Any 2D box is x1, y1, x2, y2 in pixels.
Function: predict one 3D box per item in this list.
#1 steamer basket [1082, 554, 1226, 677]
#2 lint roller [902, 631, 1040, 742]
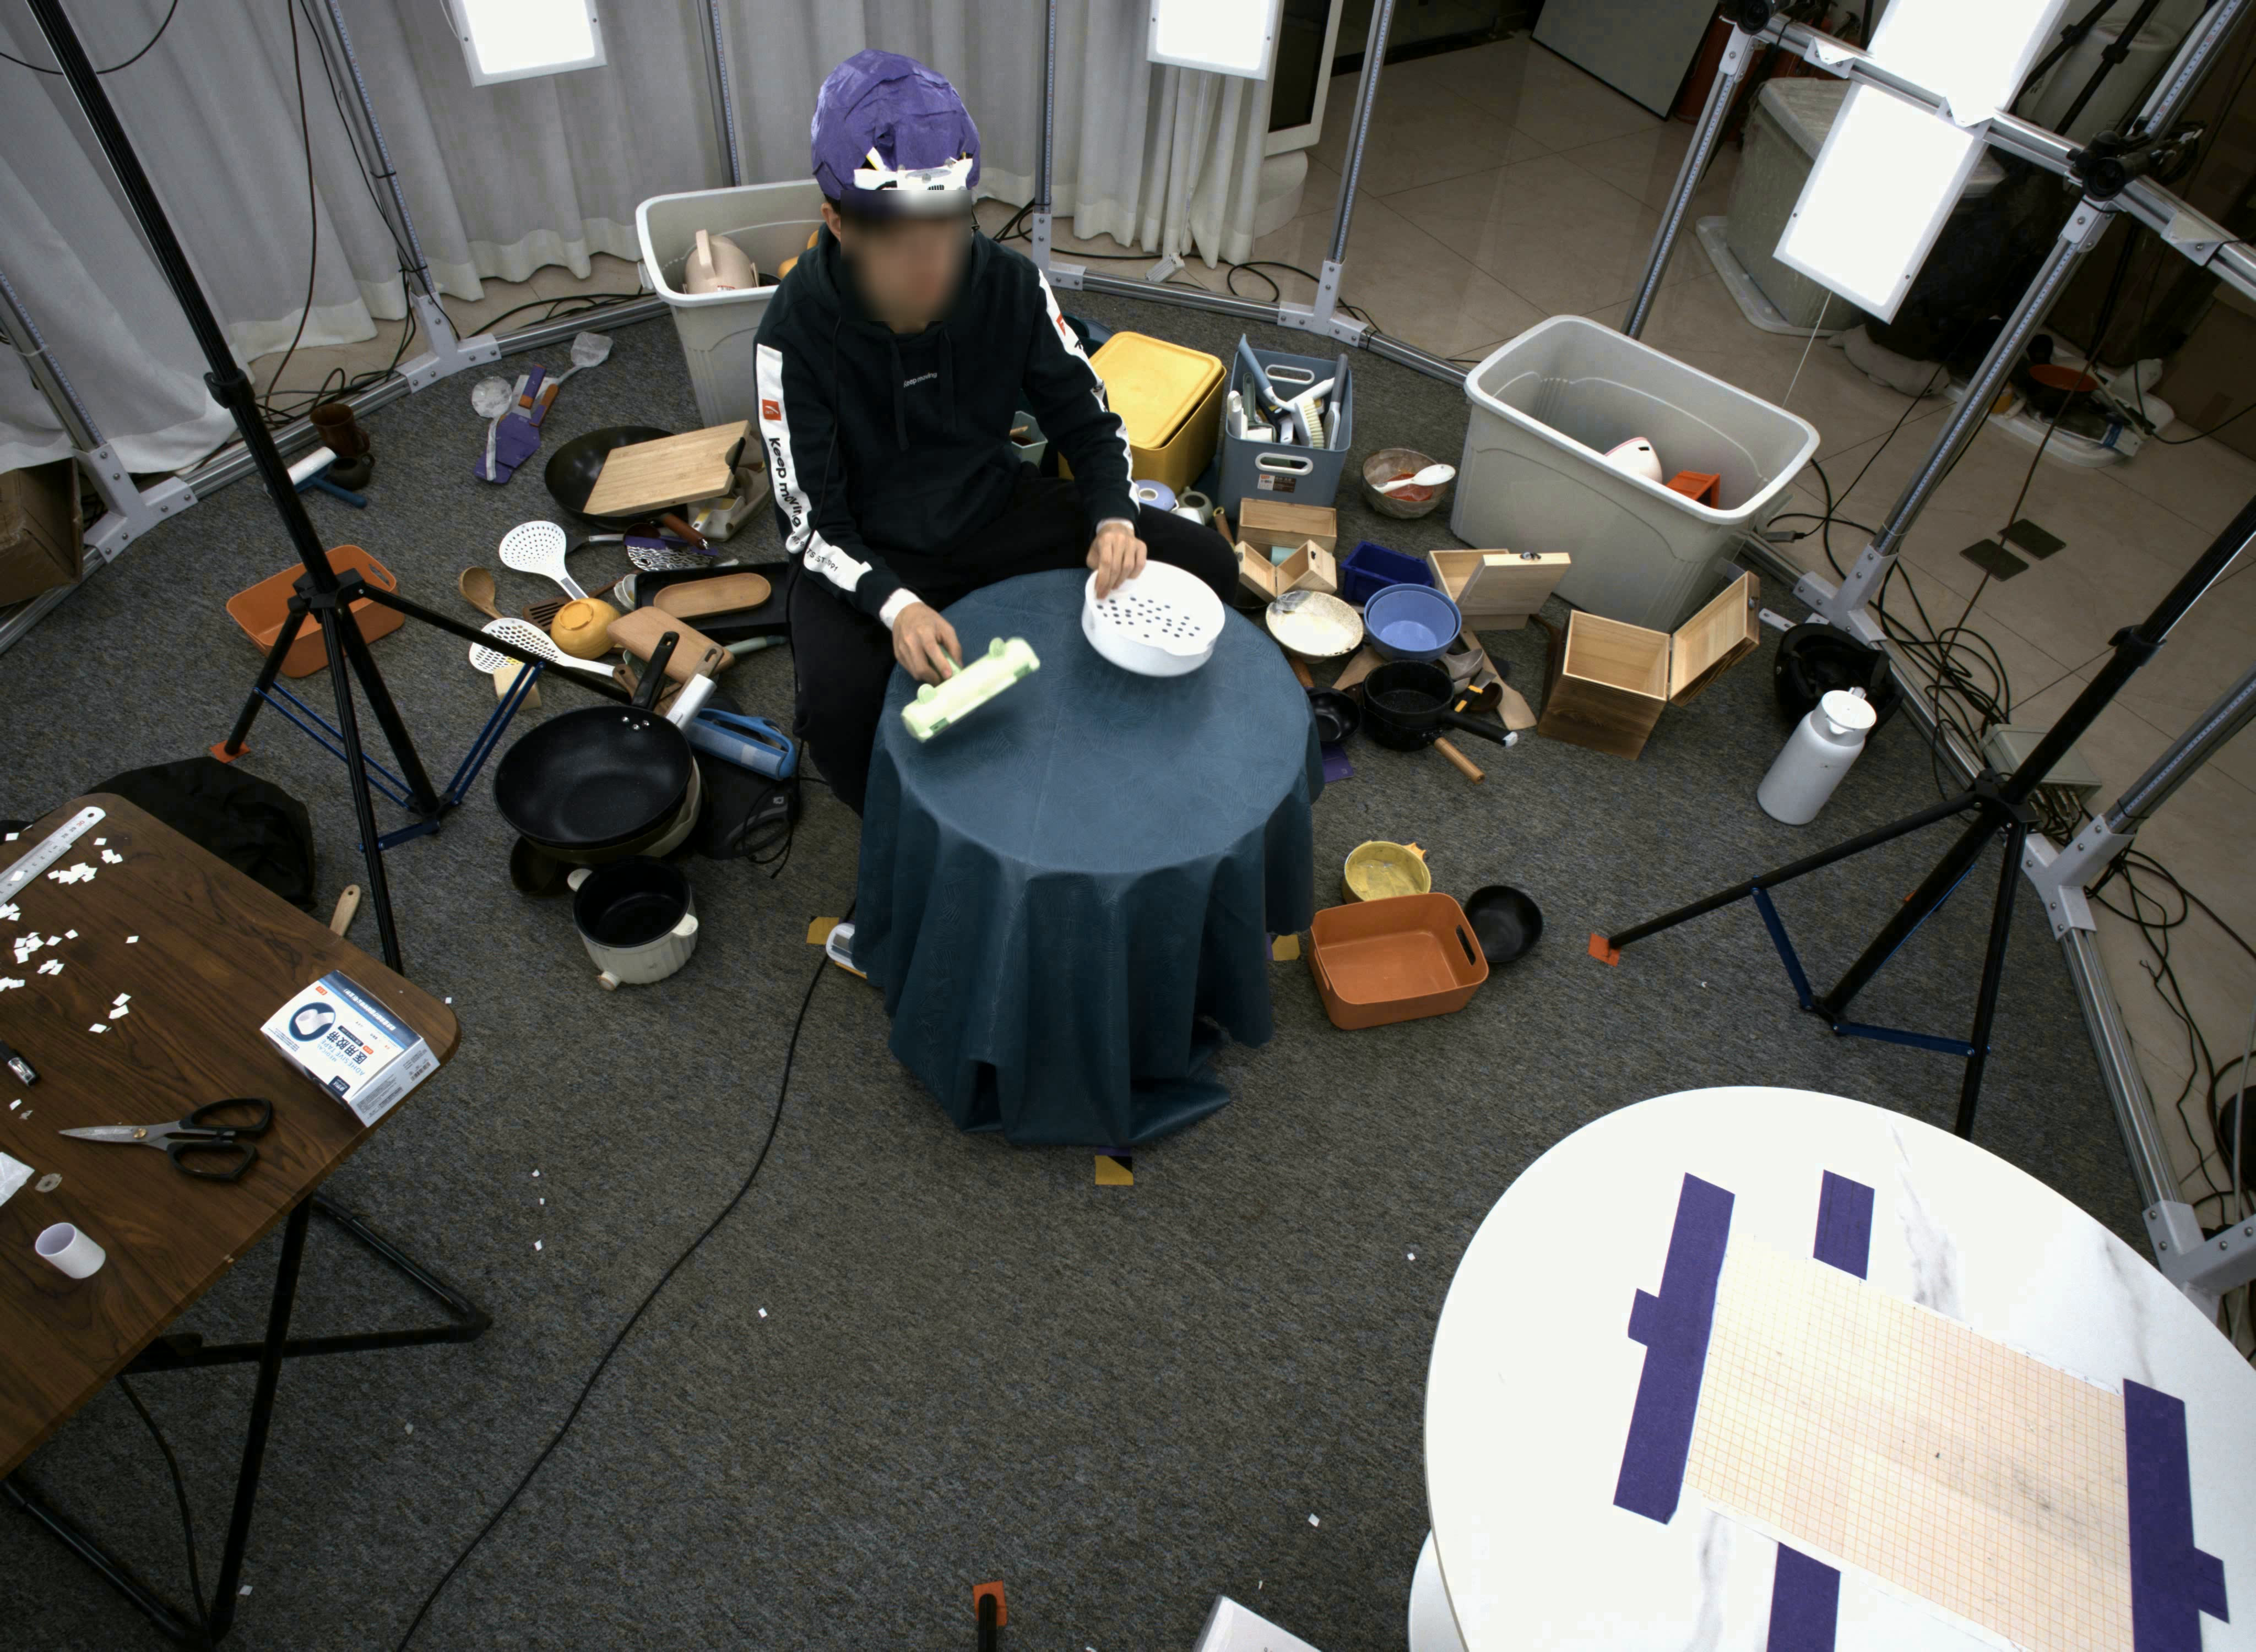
[{"bbox_3d":[0.035,-0.295,1.826,0.202,0.068,0.236,-11,50,-26],"label":"steamer basket"},{"bbox_3d":[-0.245,-0.226,1.743,0.199,0.080,0.186,-37,60,-14],"label":"lint roller"}]
